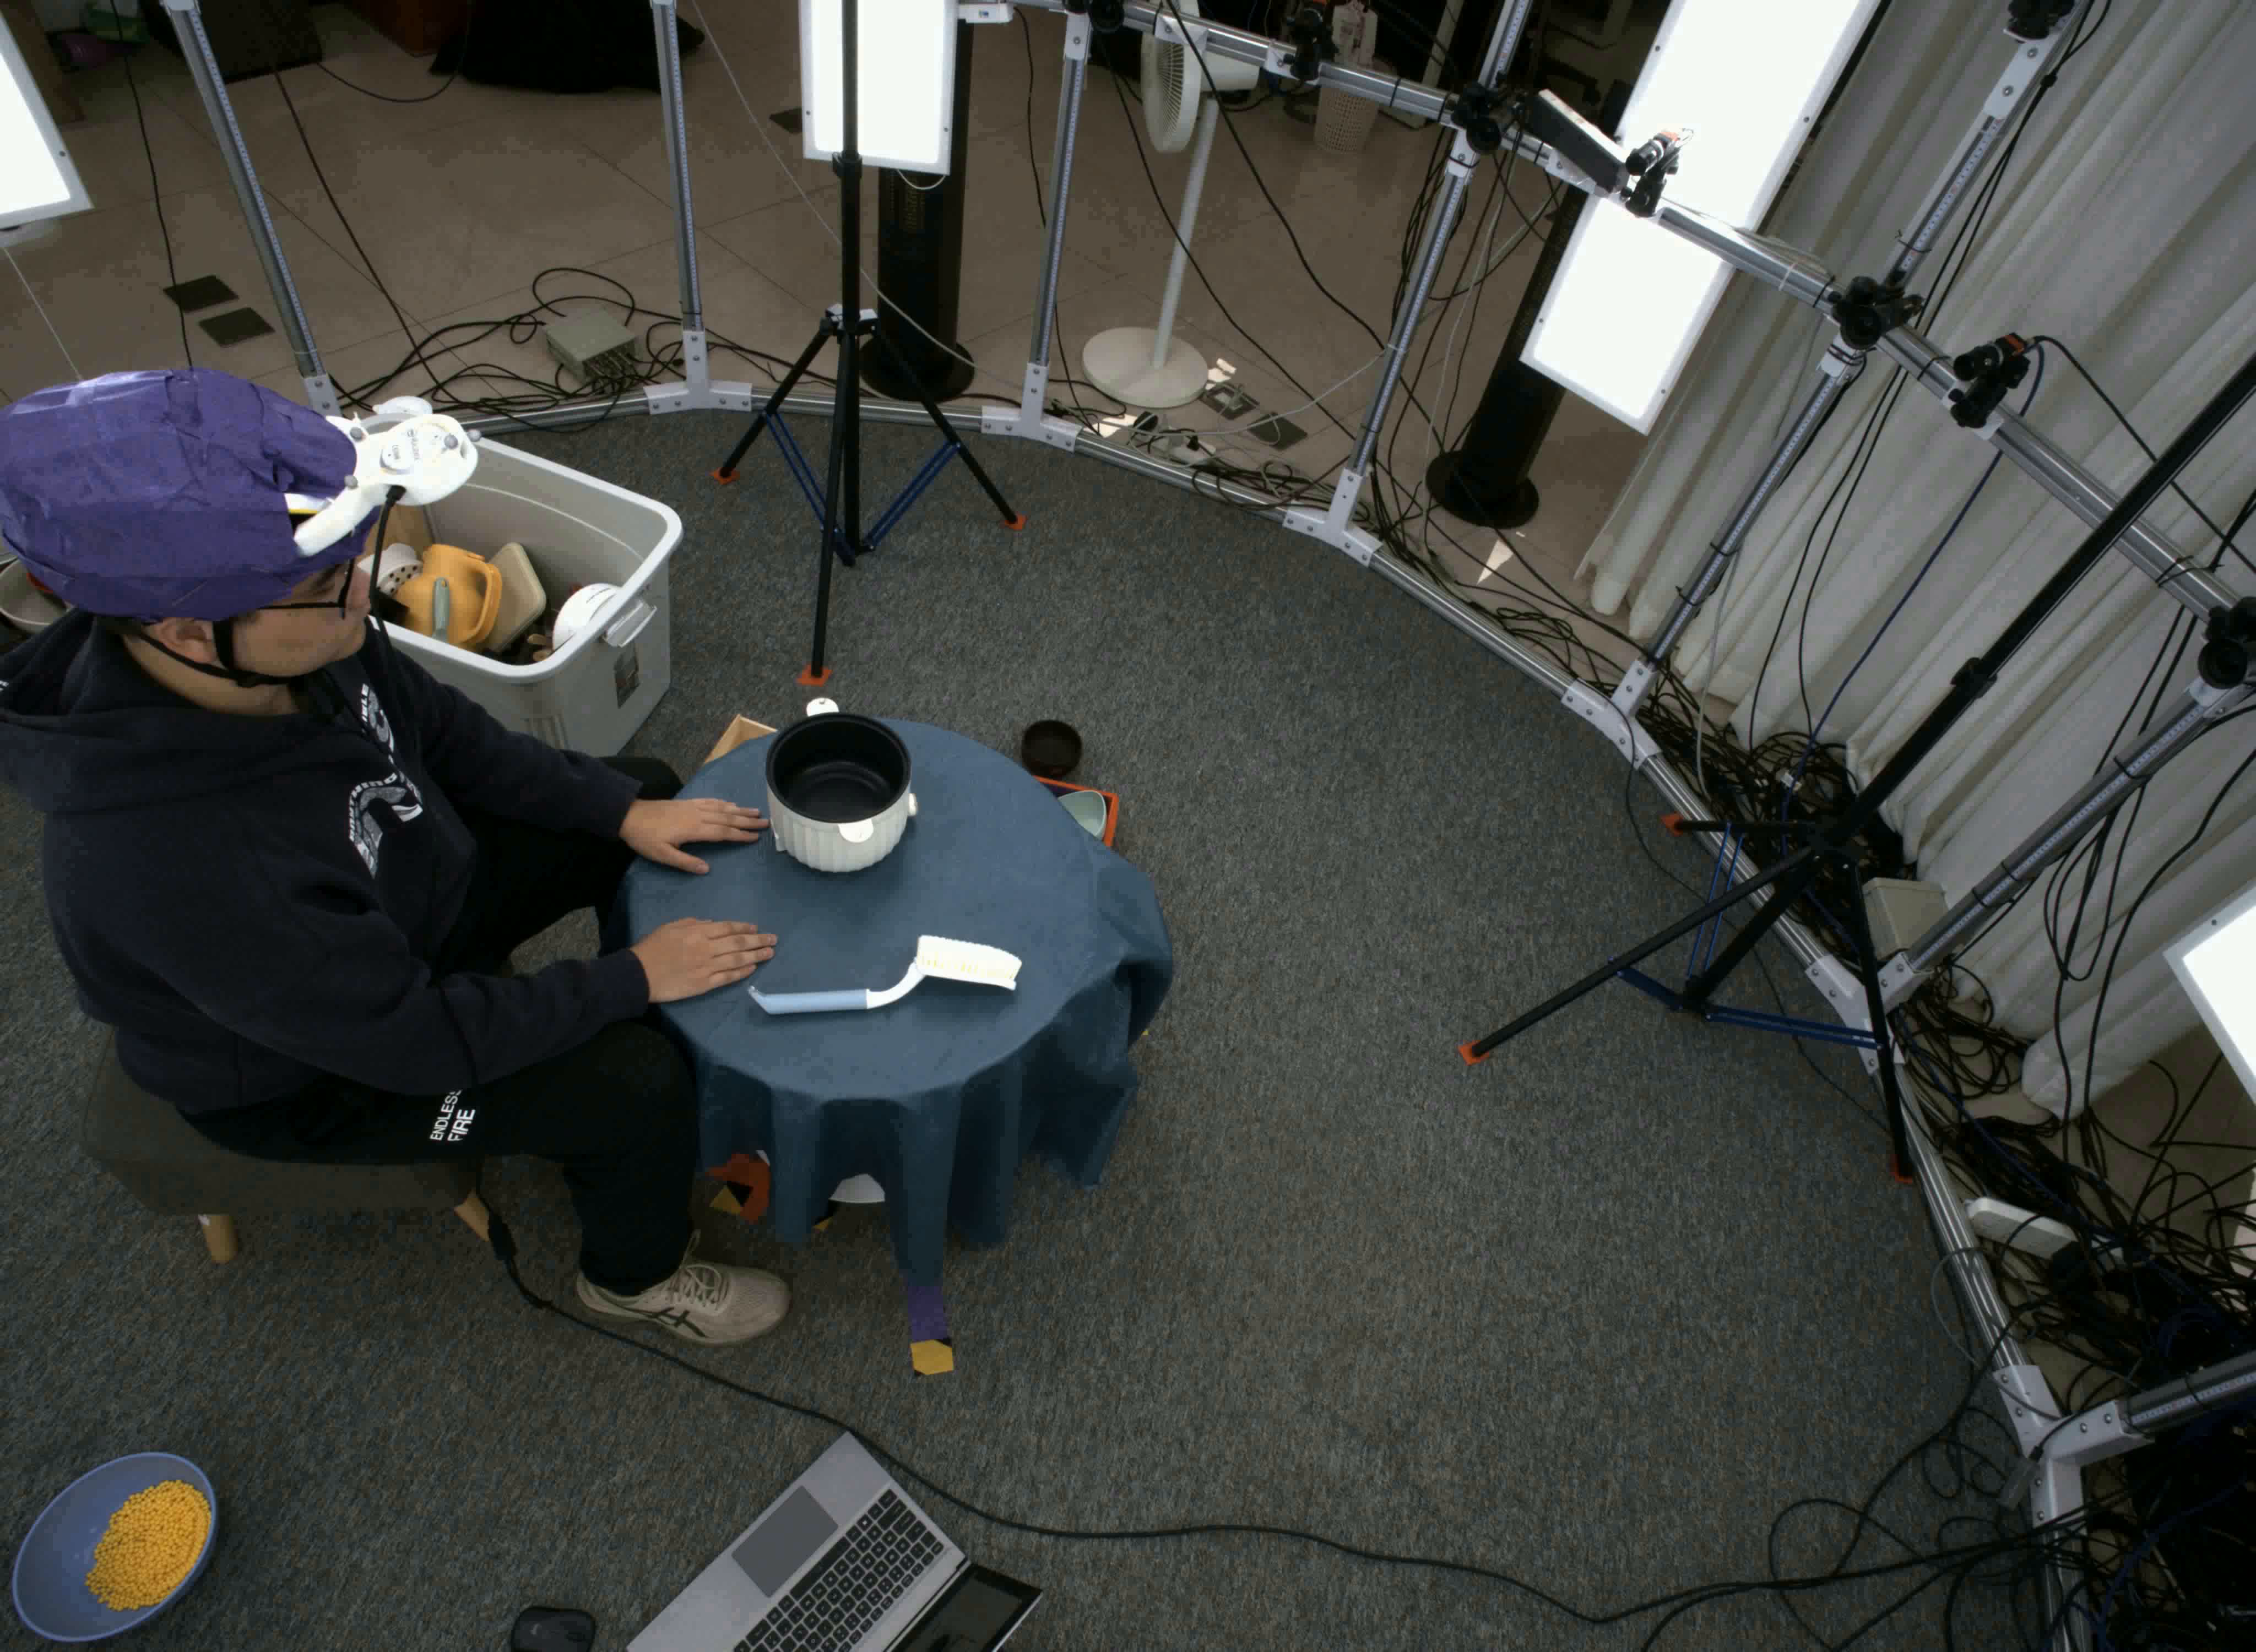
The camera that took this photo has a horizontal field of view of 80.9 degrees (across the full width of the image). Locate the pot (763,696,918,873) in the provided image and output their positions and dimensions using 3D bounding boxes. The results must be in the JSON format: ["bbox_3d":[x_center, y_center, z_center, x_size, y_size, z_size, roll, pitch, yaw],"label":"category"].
[{"bbox_3d":[-0.368,-0.040,1.675,0.191,0.146,0.234,-13,58,-18],"label":"pot"}]

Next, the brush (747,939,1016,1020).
[{"bbox_3d":[-0.295,0.170,1.571,0.326,0.084,0.083,-2,58,-17],"label":"brush"}]
